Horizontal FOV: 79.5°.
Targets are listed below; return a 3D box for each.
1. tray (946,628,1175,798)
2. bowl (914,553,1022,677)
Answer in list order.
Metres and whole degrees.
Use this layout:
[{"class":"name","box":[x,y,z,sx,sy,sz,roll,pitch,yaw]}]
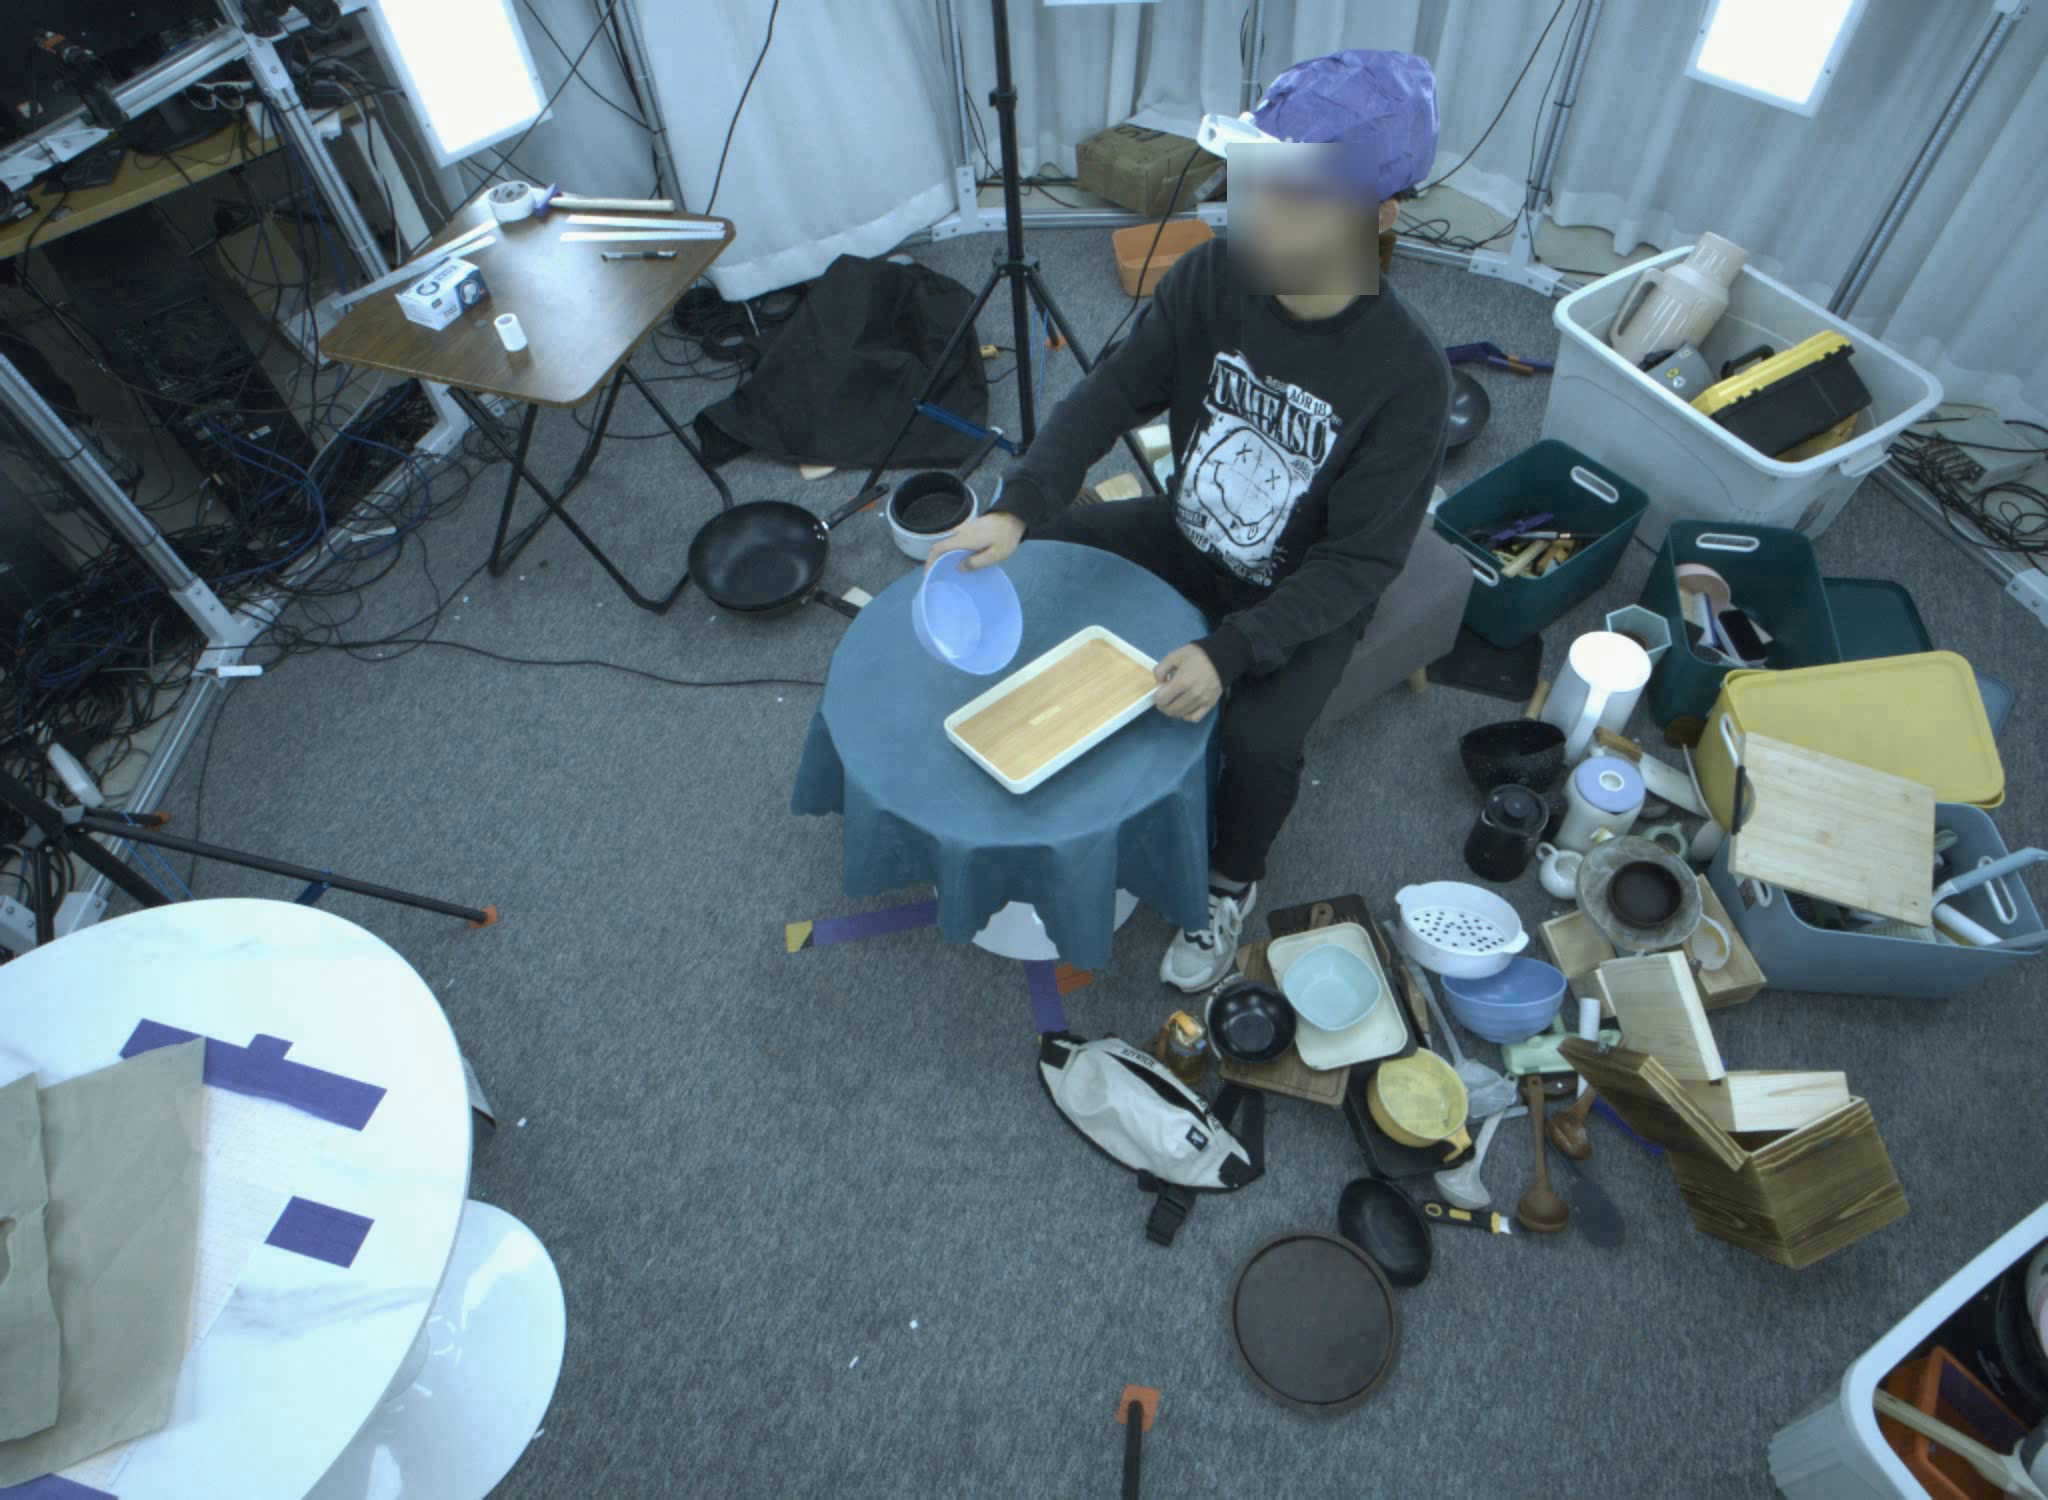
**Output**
[{"class":"tray","box":[0.054,-0.060,1.800,0.302,0.028,0.187,-34,48,-20]},{"class":"bowl","box":[-0.089,-0.183,1.718,0.069,0.179,0.176,-11,42,47]}]
